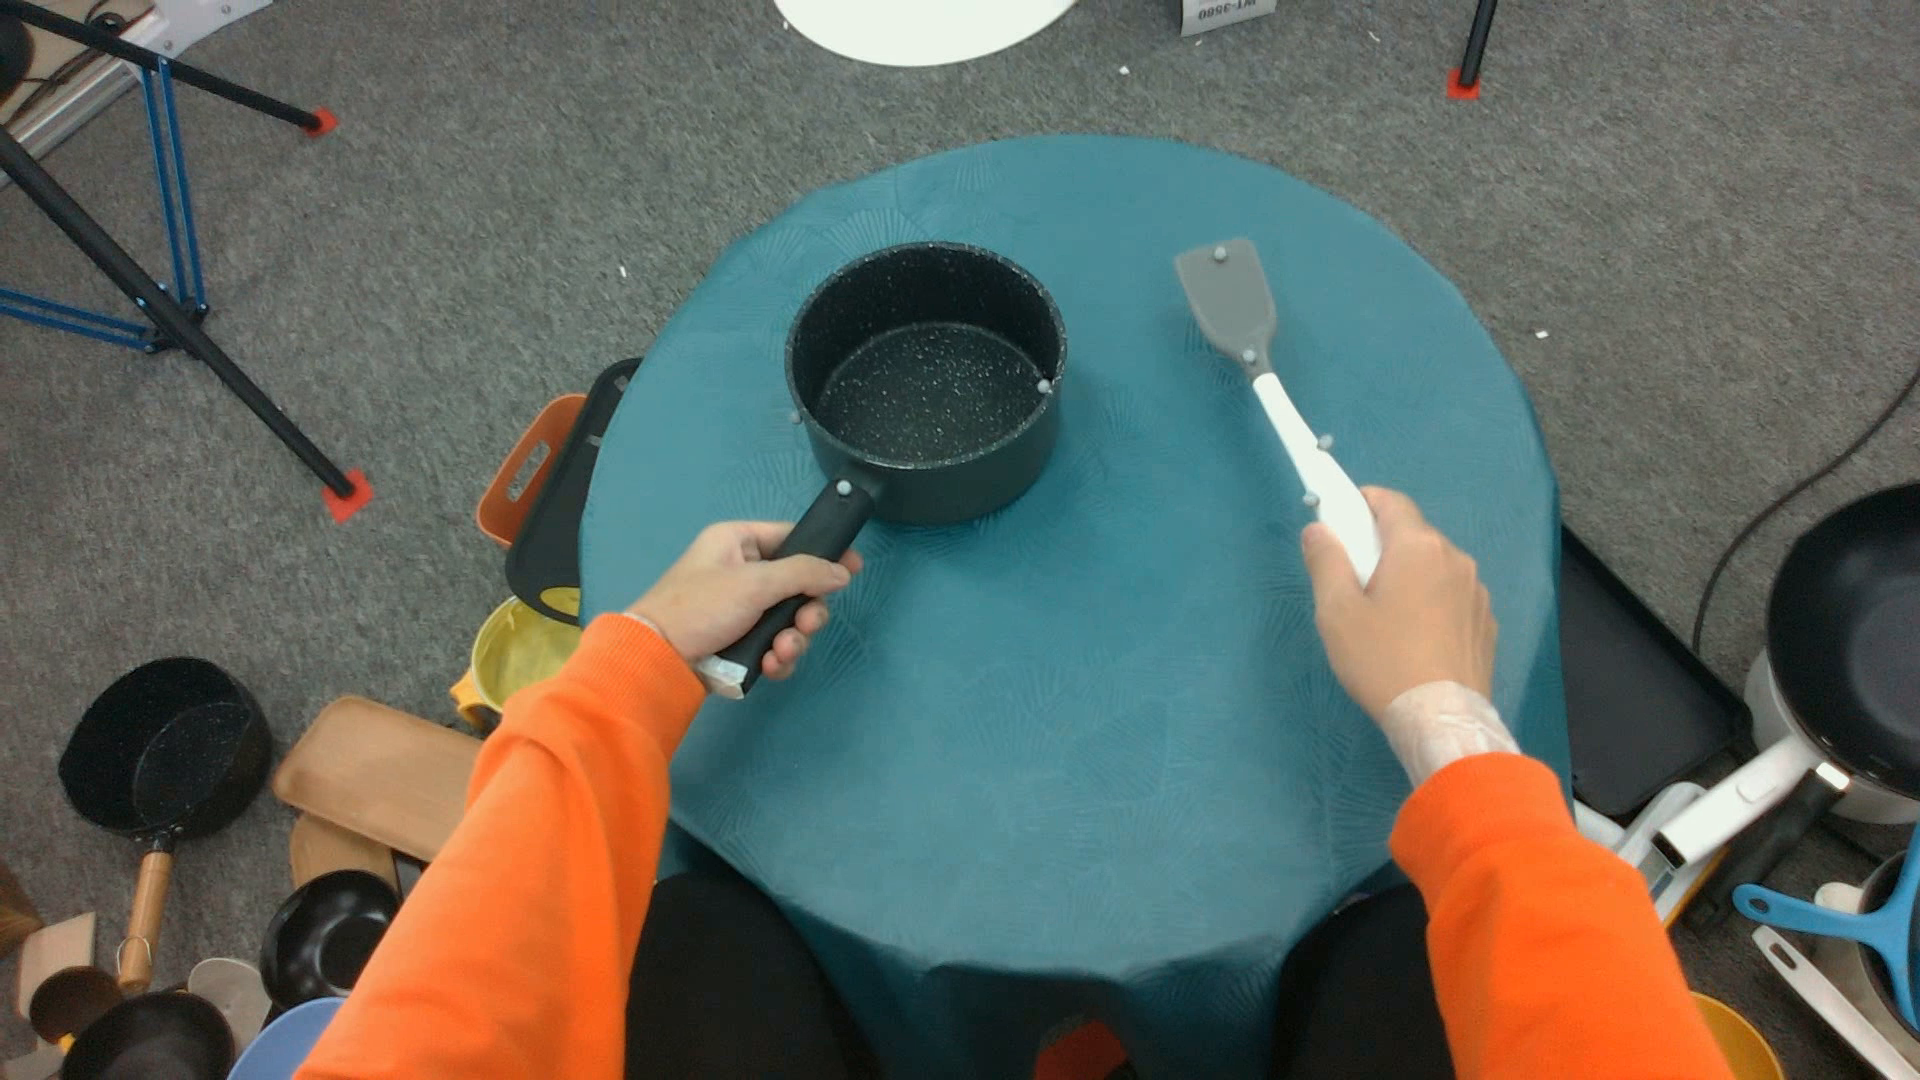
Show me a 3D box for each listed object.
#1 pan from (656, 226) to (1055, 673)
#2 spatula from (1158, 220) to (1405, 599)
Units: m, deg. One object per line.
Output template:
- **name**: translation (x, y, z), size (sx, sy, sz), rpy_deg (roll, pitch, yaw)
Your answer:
- **pan**: translation (-0.064, -0.045, 0.815), size (0.172, 0.086, 0.330), rpy_deg (23, 62, 17)
- **spatula**: translation (0.184, -0.087, 0.803), size (0.058, 0.032, 0.288), rpy_deg (-18, 52, 2)
